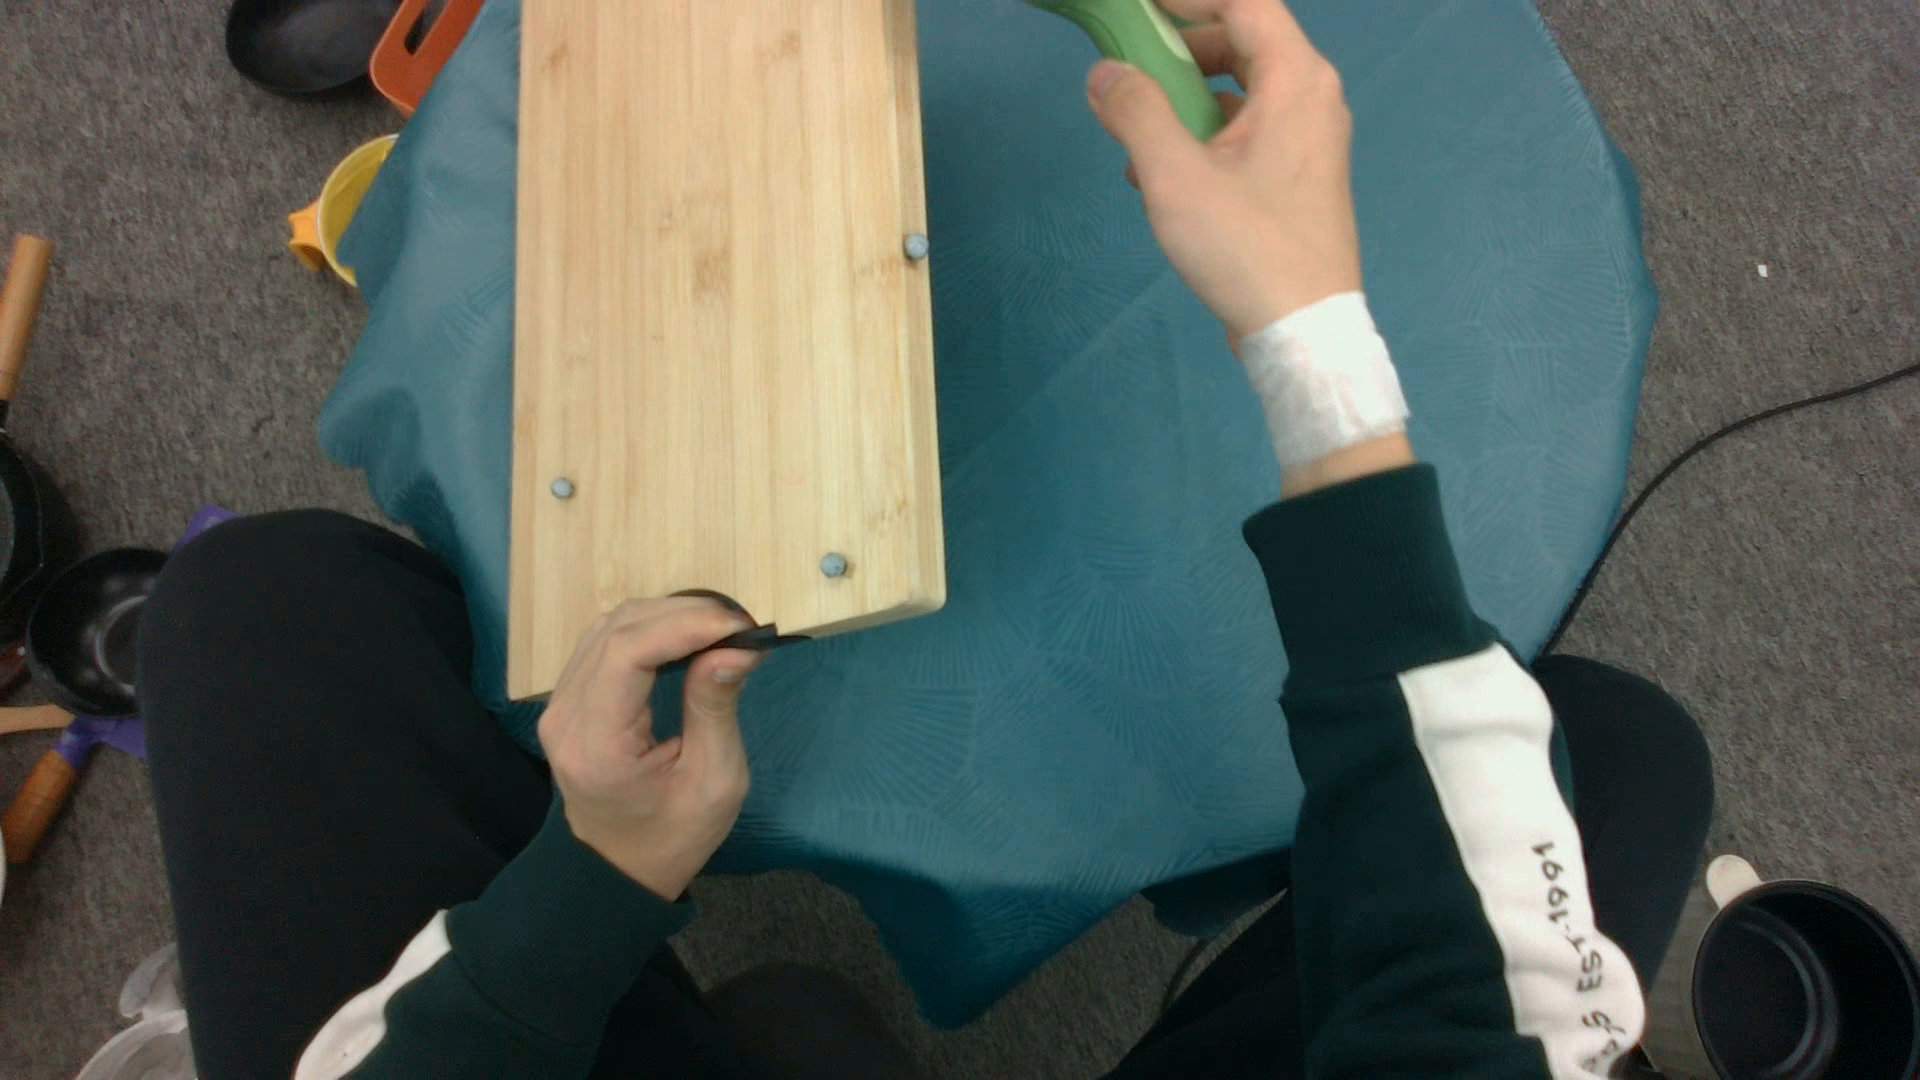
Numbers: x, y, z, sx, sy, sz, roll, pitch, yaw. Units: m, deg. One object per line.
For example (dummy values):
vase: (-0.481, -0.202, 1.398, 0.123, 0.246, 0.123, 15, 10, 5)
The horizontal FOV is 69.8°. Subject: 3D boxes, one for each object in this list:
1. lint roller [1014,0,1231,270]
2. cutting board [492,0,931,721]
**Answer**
lint roller: (0.064, -0.190, 0.498, 0.082, 0.199, 0.183, -41, 74, 31)
cutting board: (-0.117, -0.115, 0.557, 0.023, 0.250, 0.349, 11, 68, -47)
